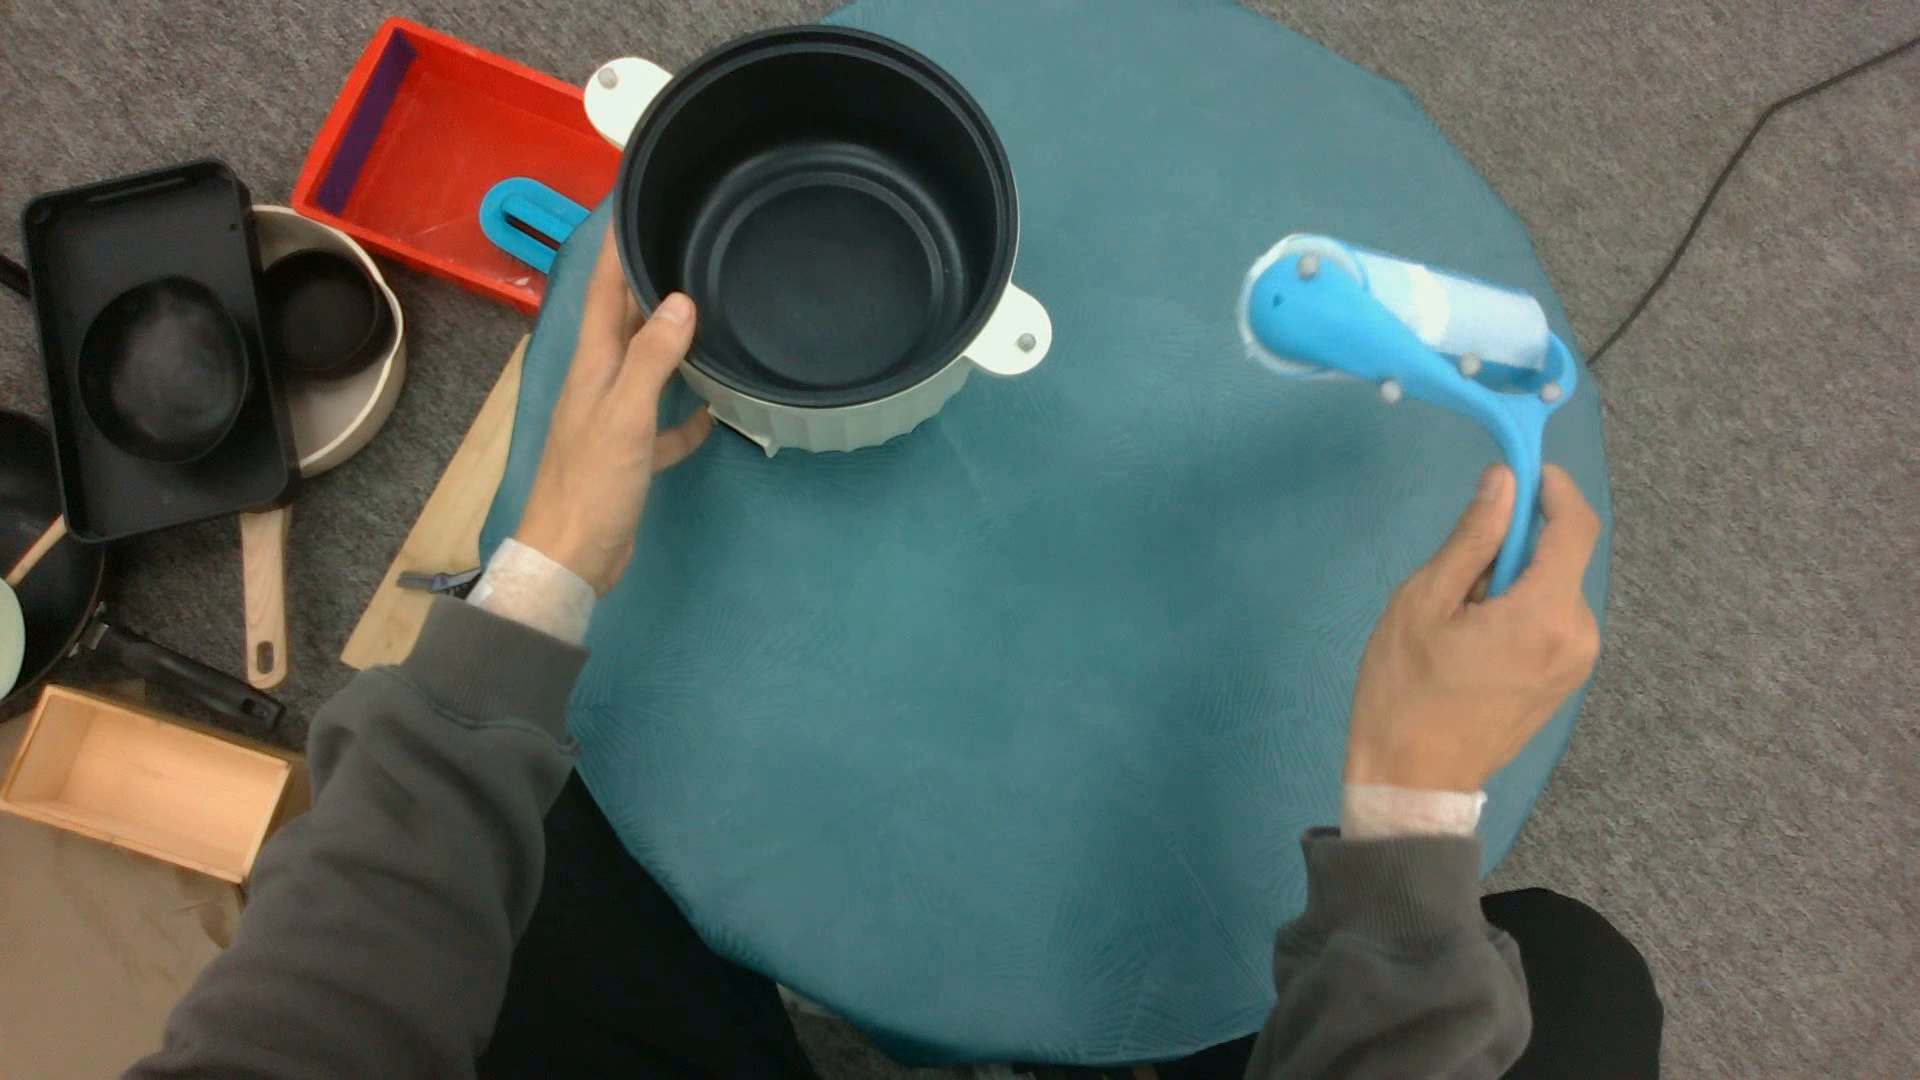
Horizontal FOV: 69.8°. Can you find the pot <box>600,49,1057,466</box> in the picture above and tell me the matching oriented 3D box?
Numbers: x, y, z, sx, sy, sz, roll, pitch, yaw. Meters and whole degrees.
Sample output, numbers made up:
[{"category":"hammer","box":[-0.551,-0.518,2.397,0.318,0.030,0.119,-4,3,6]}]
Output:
[{"category":"pot","box":[-0.062,-0.137,0.699,0.240,0.142,0.191,31,83,1]}]

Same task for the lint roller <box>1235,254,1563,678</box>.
[{"category":"lint roller","box":[0.212,-0.035,0.594,0.067,0.229,0.180,-27,79,38]}]
